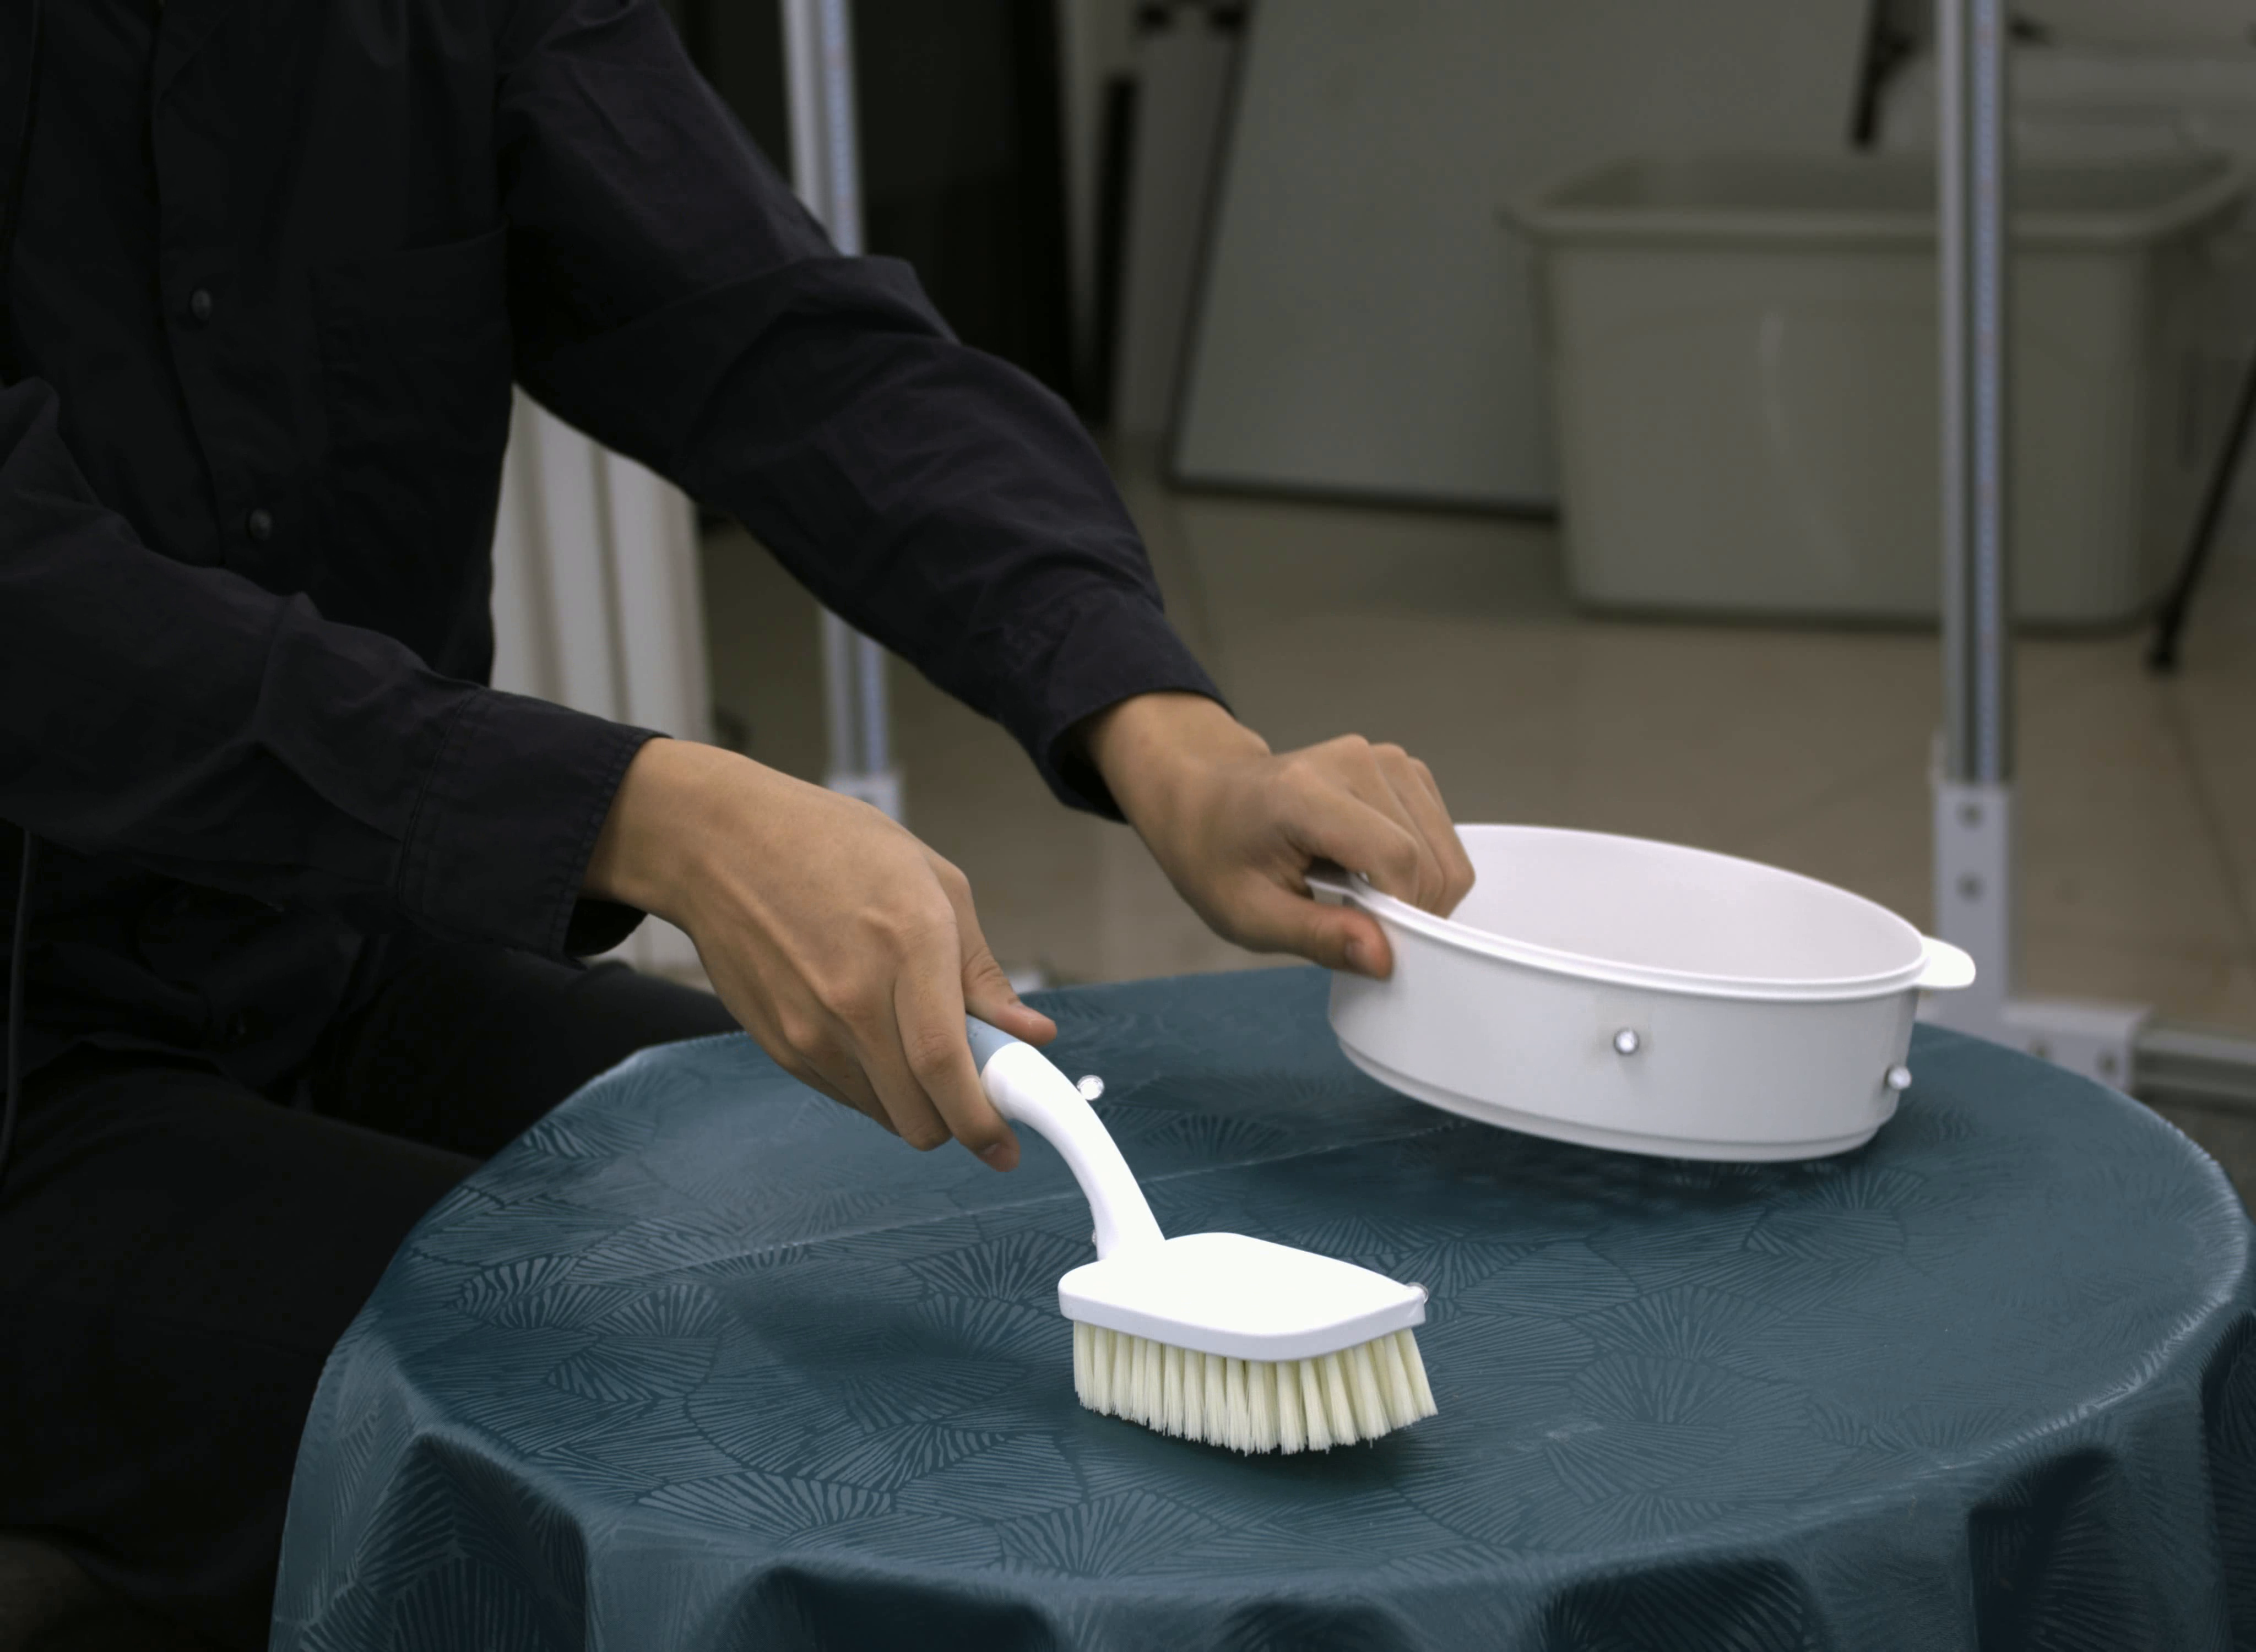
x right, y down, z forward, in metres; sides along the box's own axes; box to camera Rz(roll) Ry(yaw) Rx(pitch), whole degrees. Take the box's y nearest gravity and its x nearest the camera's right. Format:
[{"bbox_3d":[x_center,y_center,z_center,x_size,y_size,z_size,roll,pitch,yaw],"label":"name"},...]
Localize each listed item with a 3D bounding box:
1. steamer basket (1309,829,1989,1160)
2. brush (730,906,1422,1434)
[{"bbox_3d":[0.169,0.056,1.795,0.228,0.070,0.201,9,11,7],"label":"steamer basket"},{"bbox_3d":[-0.021,0.116,1.630,0.081,0.085,0.329,33,-5,-42],"label":"brush"}]
